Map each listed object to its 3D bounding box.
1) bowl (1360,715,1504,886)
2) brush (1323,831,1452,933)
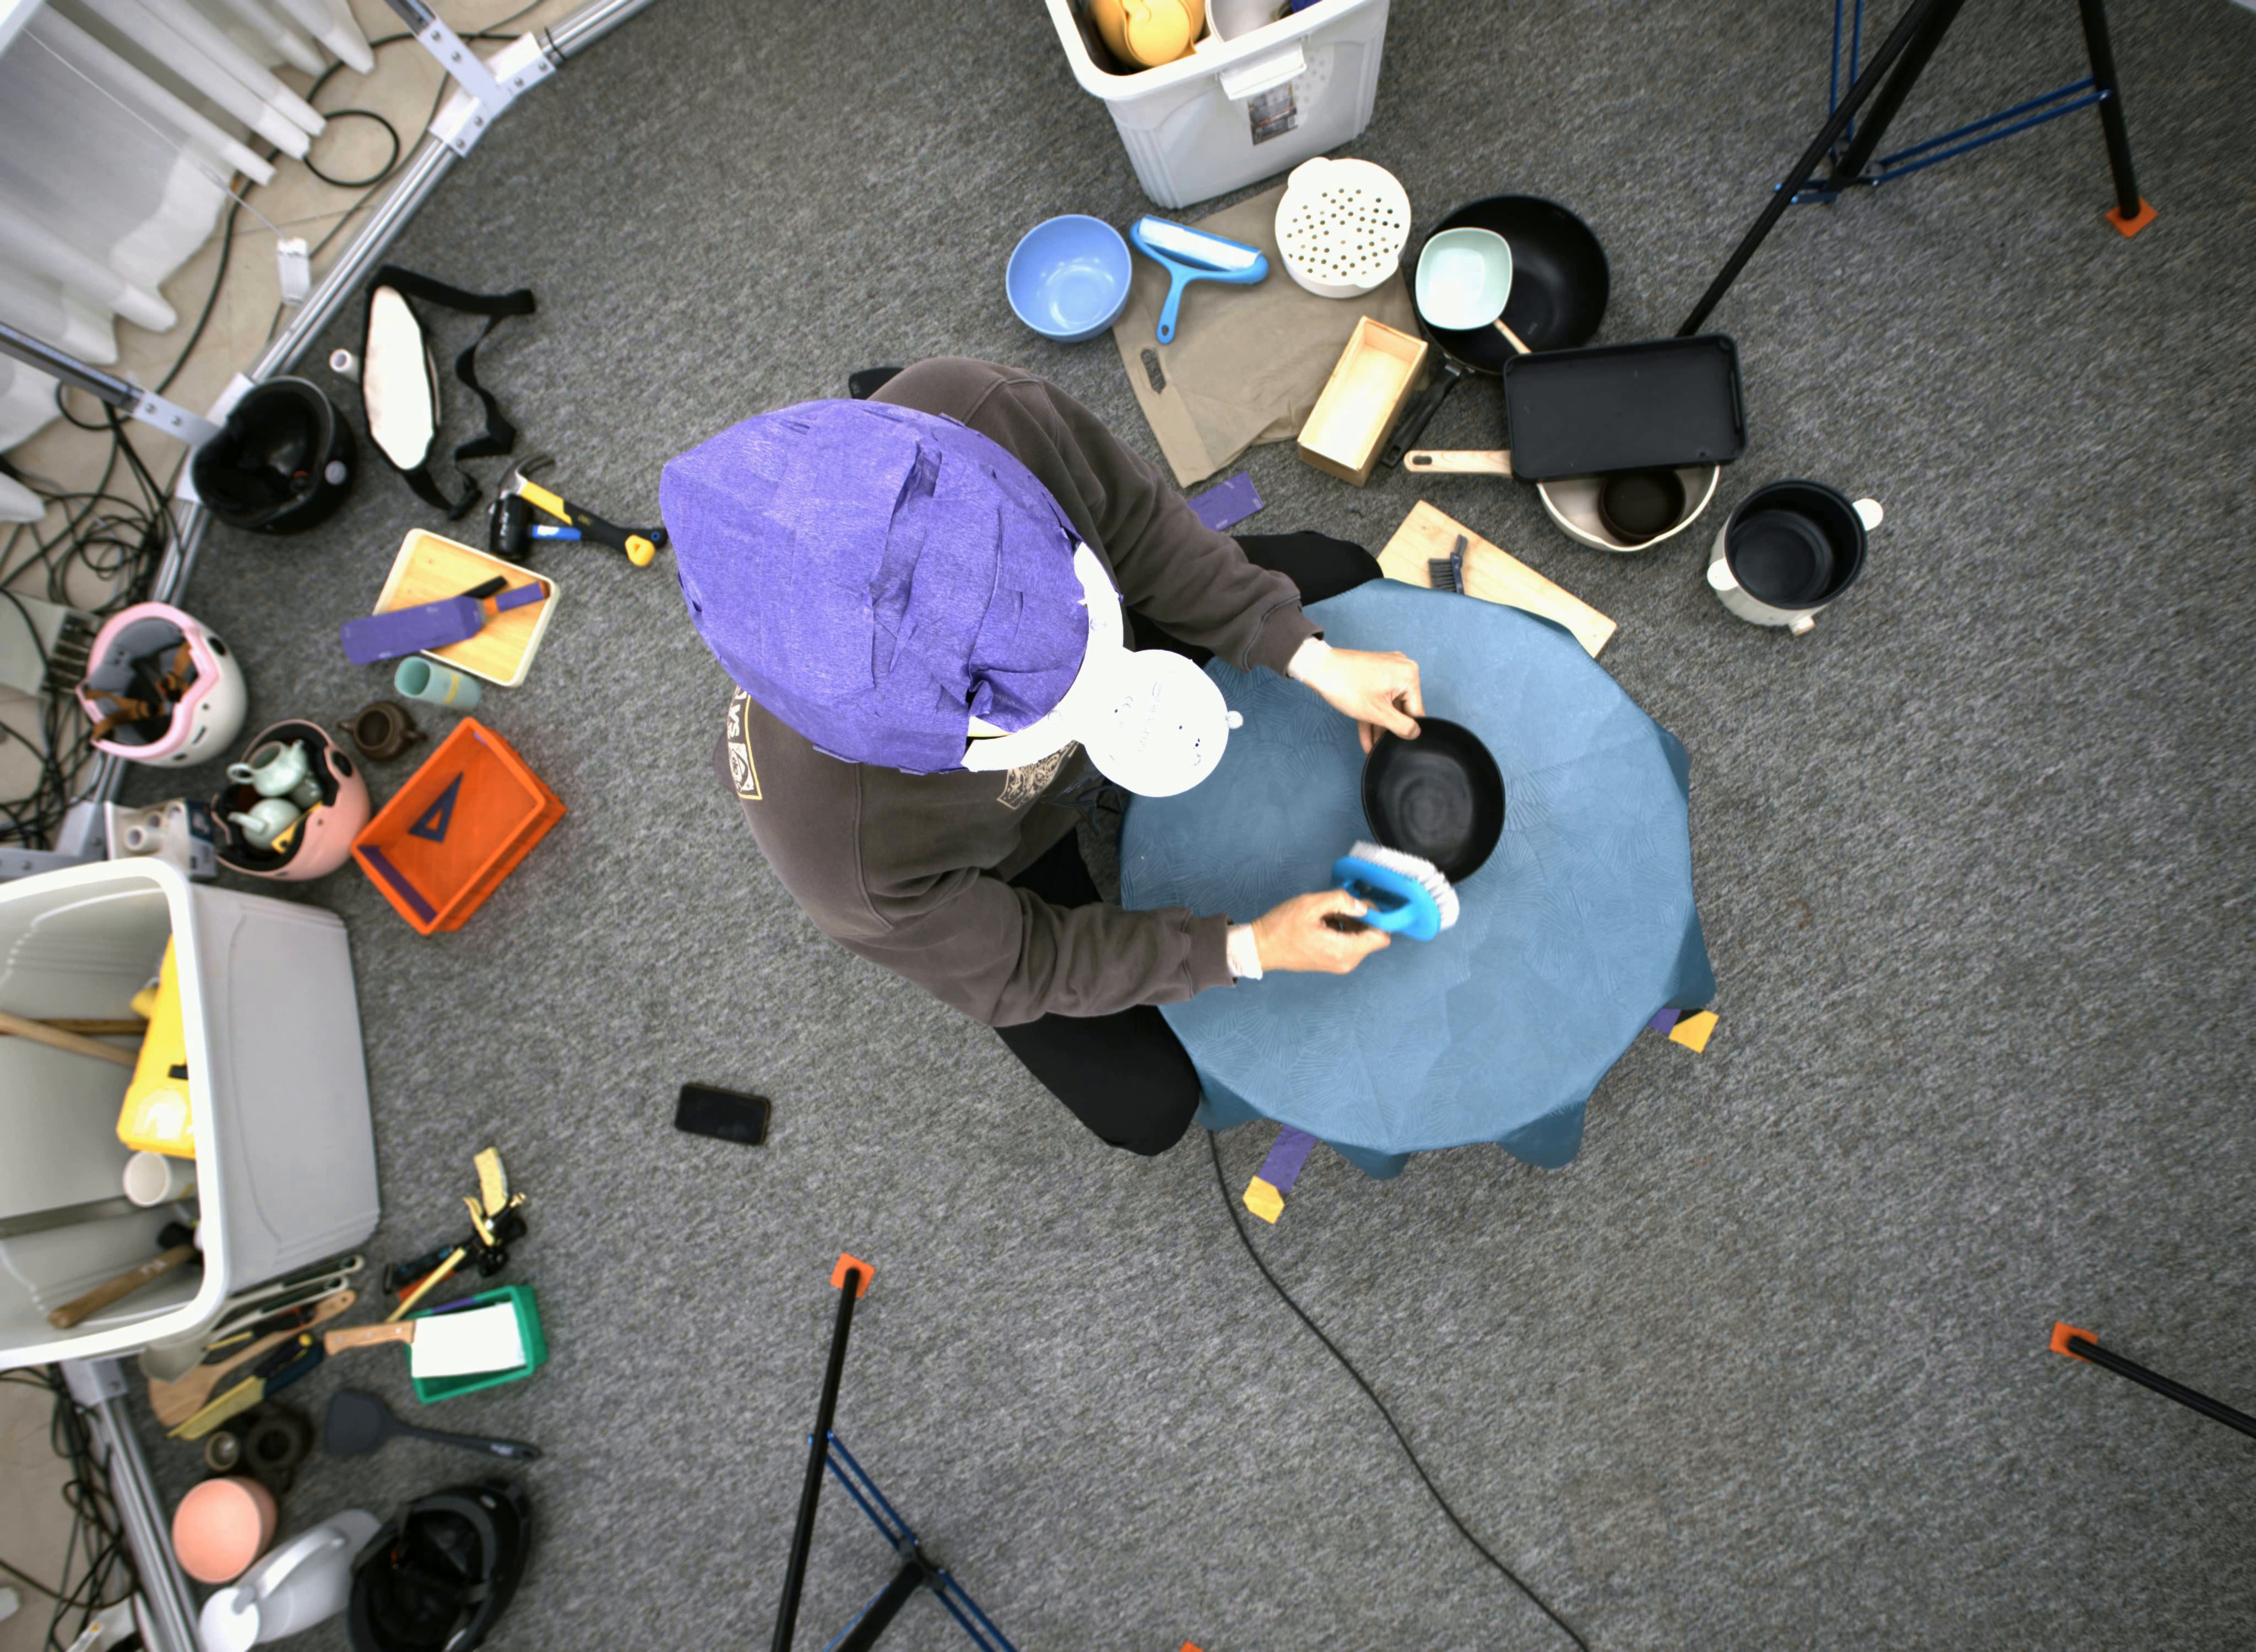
[{"bbox_3d":[0.298,-0.024,1.361,0.138,0.067,0.169,-12,84,5],"label":"bowl"},{"bbox_3d":[0.239,0.062,1.326,0.063,0.086,0.141,-41,36,-21],"label":"brush"}]
